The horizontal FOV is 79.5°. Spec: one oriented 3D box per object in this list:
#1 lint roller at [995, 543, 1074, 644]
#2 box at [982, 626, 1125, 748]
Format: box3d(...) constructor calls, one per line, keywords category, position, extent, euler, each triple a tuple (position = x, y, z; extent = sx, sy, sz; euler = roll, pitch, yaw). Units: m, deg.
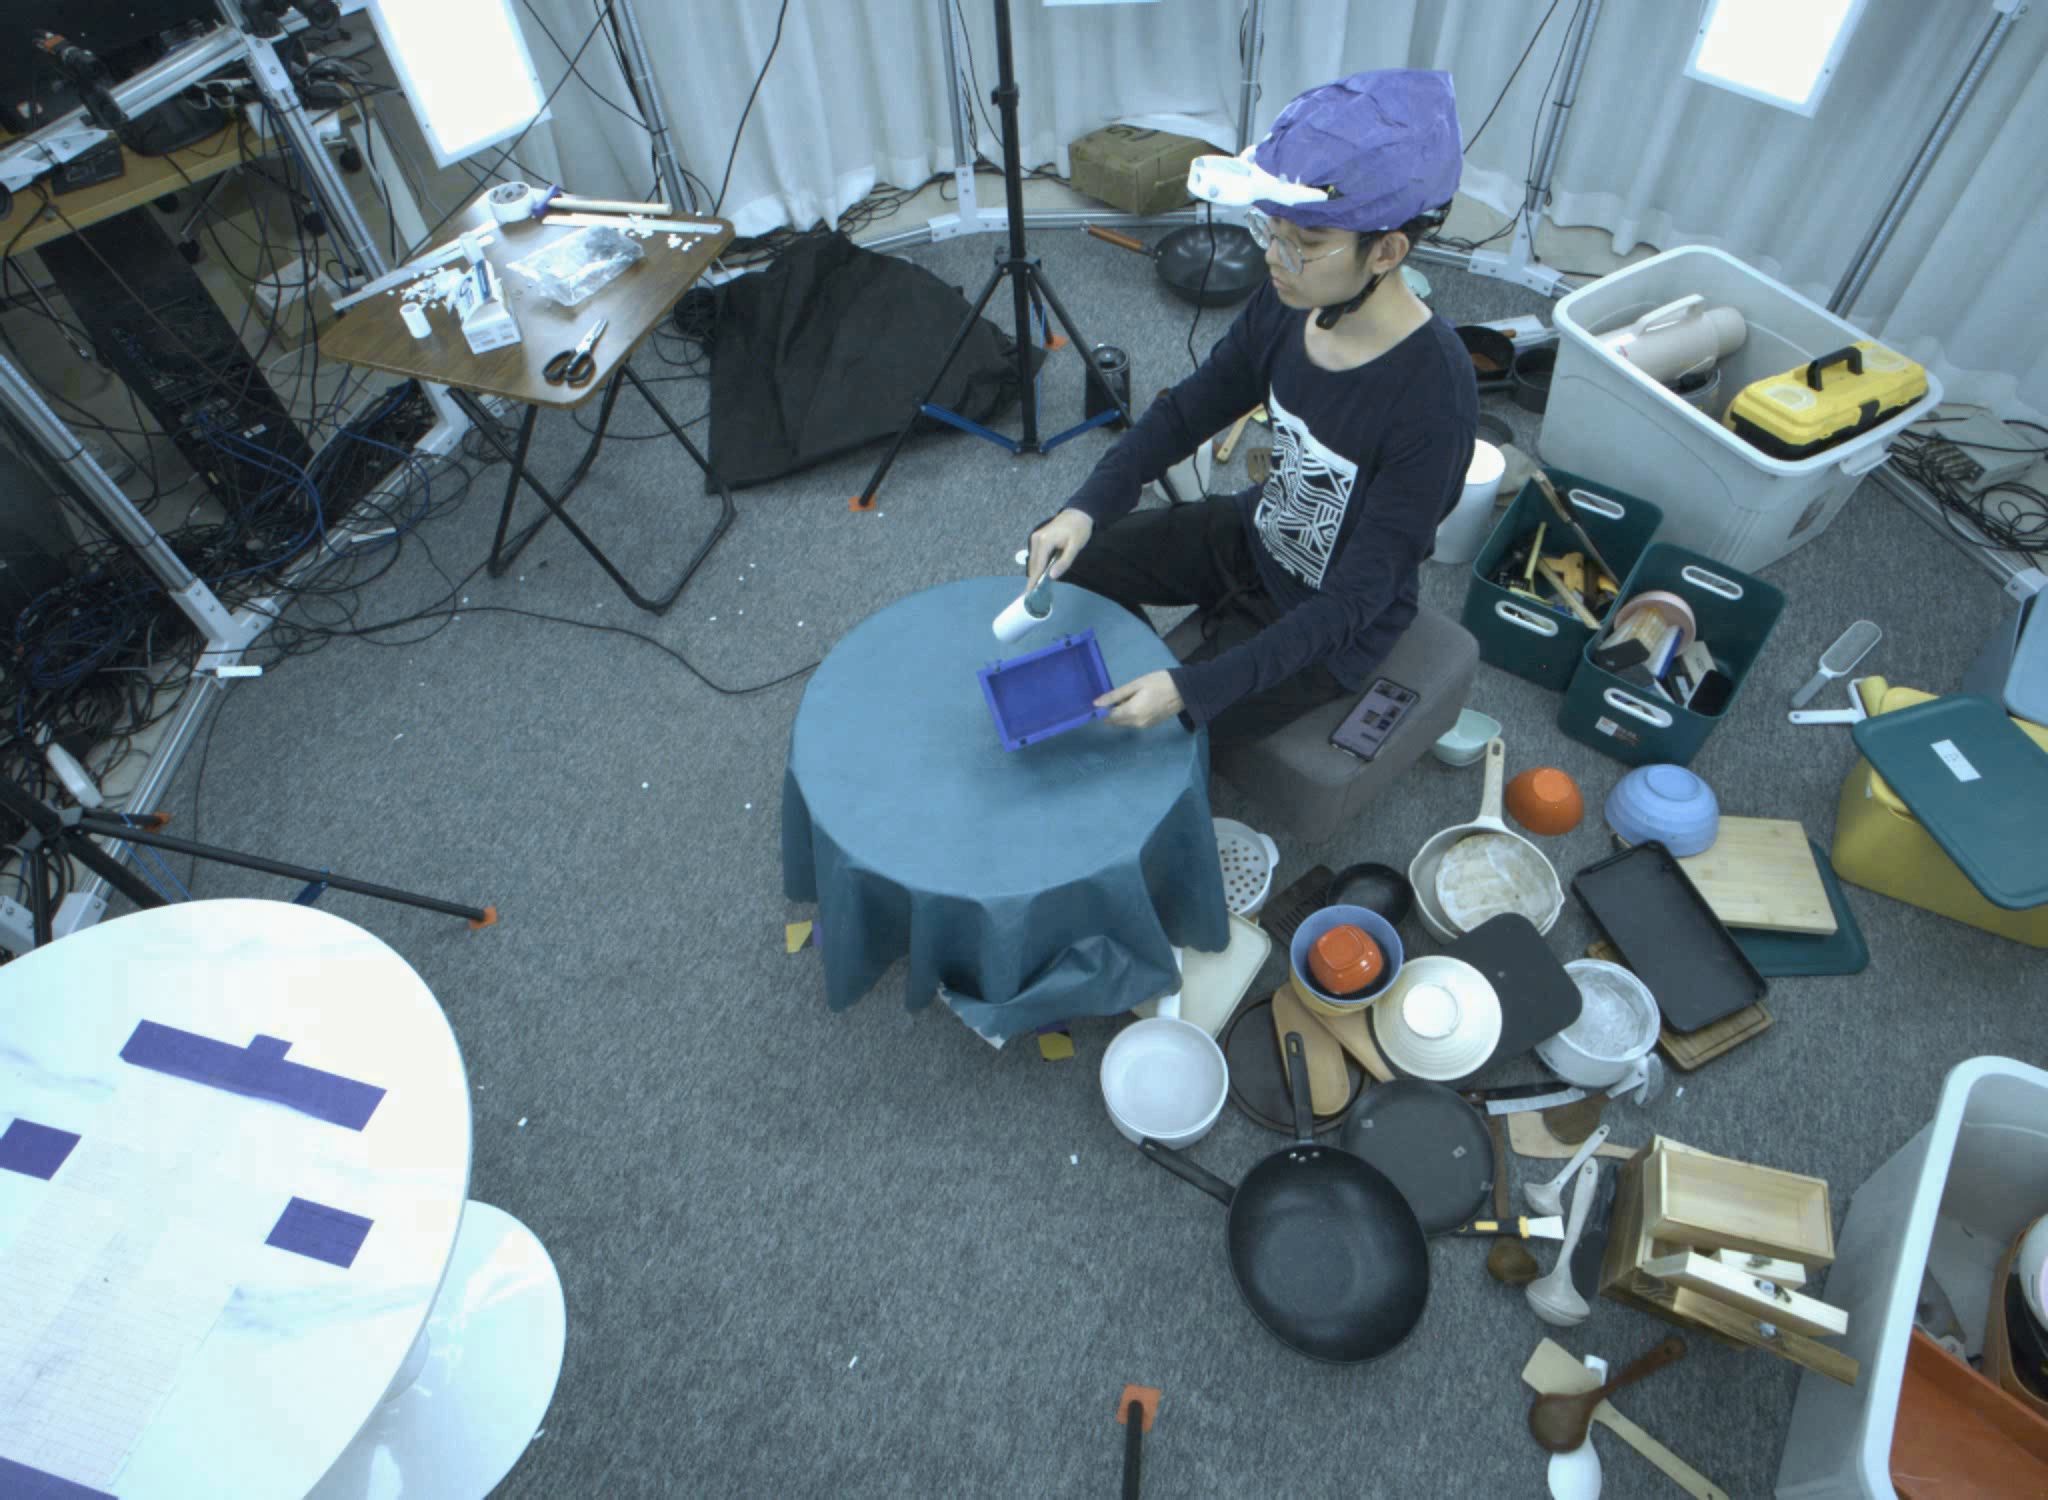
box3d(category="lint roller", position=(0.023, -0.247, 1.802), extent=(0.049, 0.133, 0.180), euler=(30, 63, -15))
box3d(category="box", position=(0.043, -0.093, 1.741), extent=(0.179, 0.081, 0.125), euler=(-18, 98, -2))
